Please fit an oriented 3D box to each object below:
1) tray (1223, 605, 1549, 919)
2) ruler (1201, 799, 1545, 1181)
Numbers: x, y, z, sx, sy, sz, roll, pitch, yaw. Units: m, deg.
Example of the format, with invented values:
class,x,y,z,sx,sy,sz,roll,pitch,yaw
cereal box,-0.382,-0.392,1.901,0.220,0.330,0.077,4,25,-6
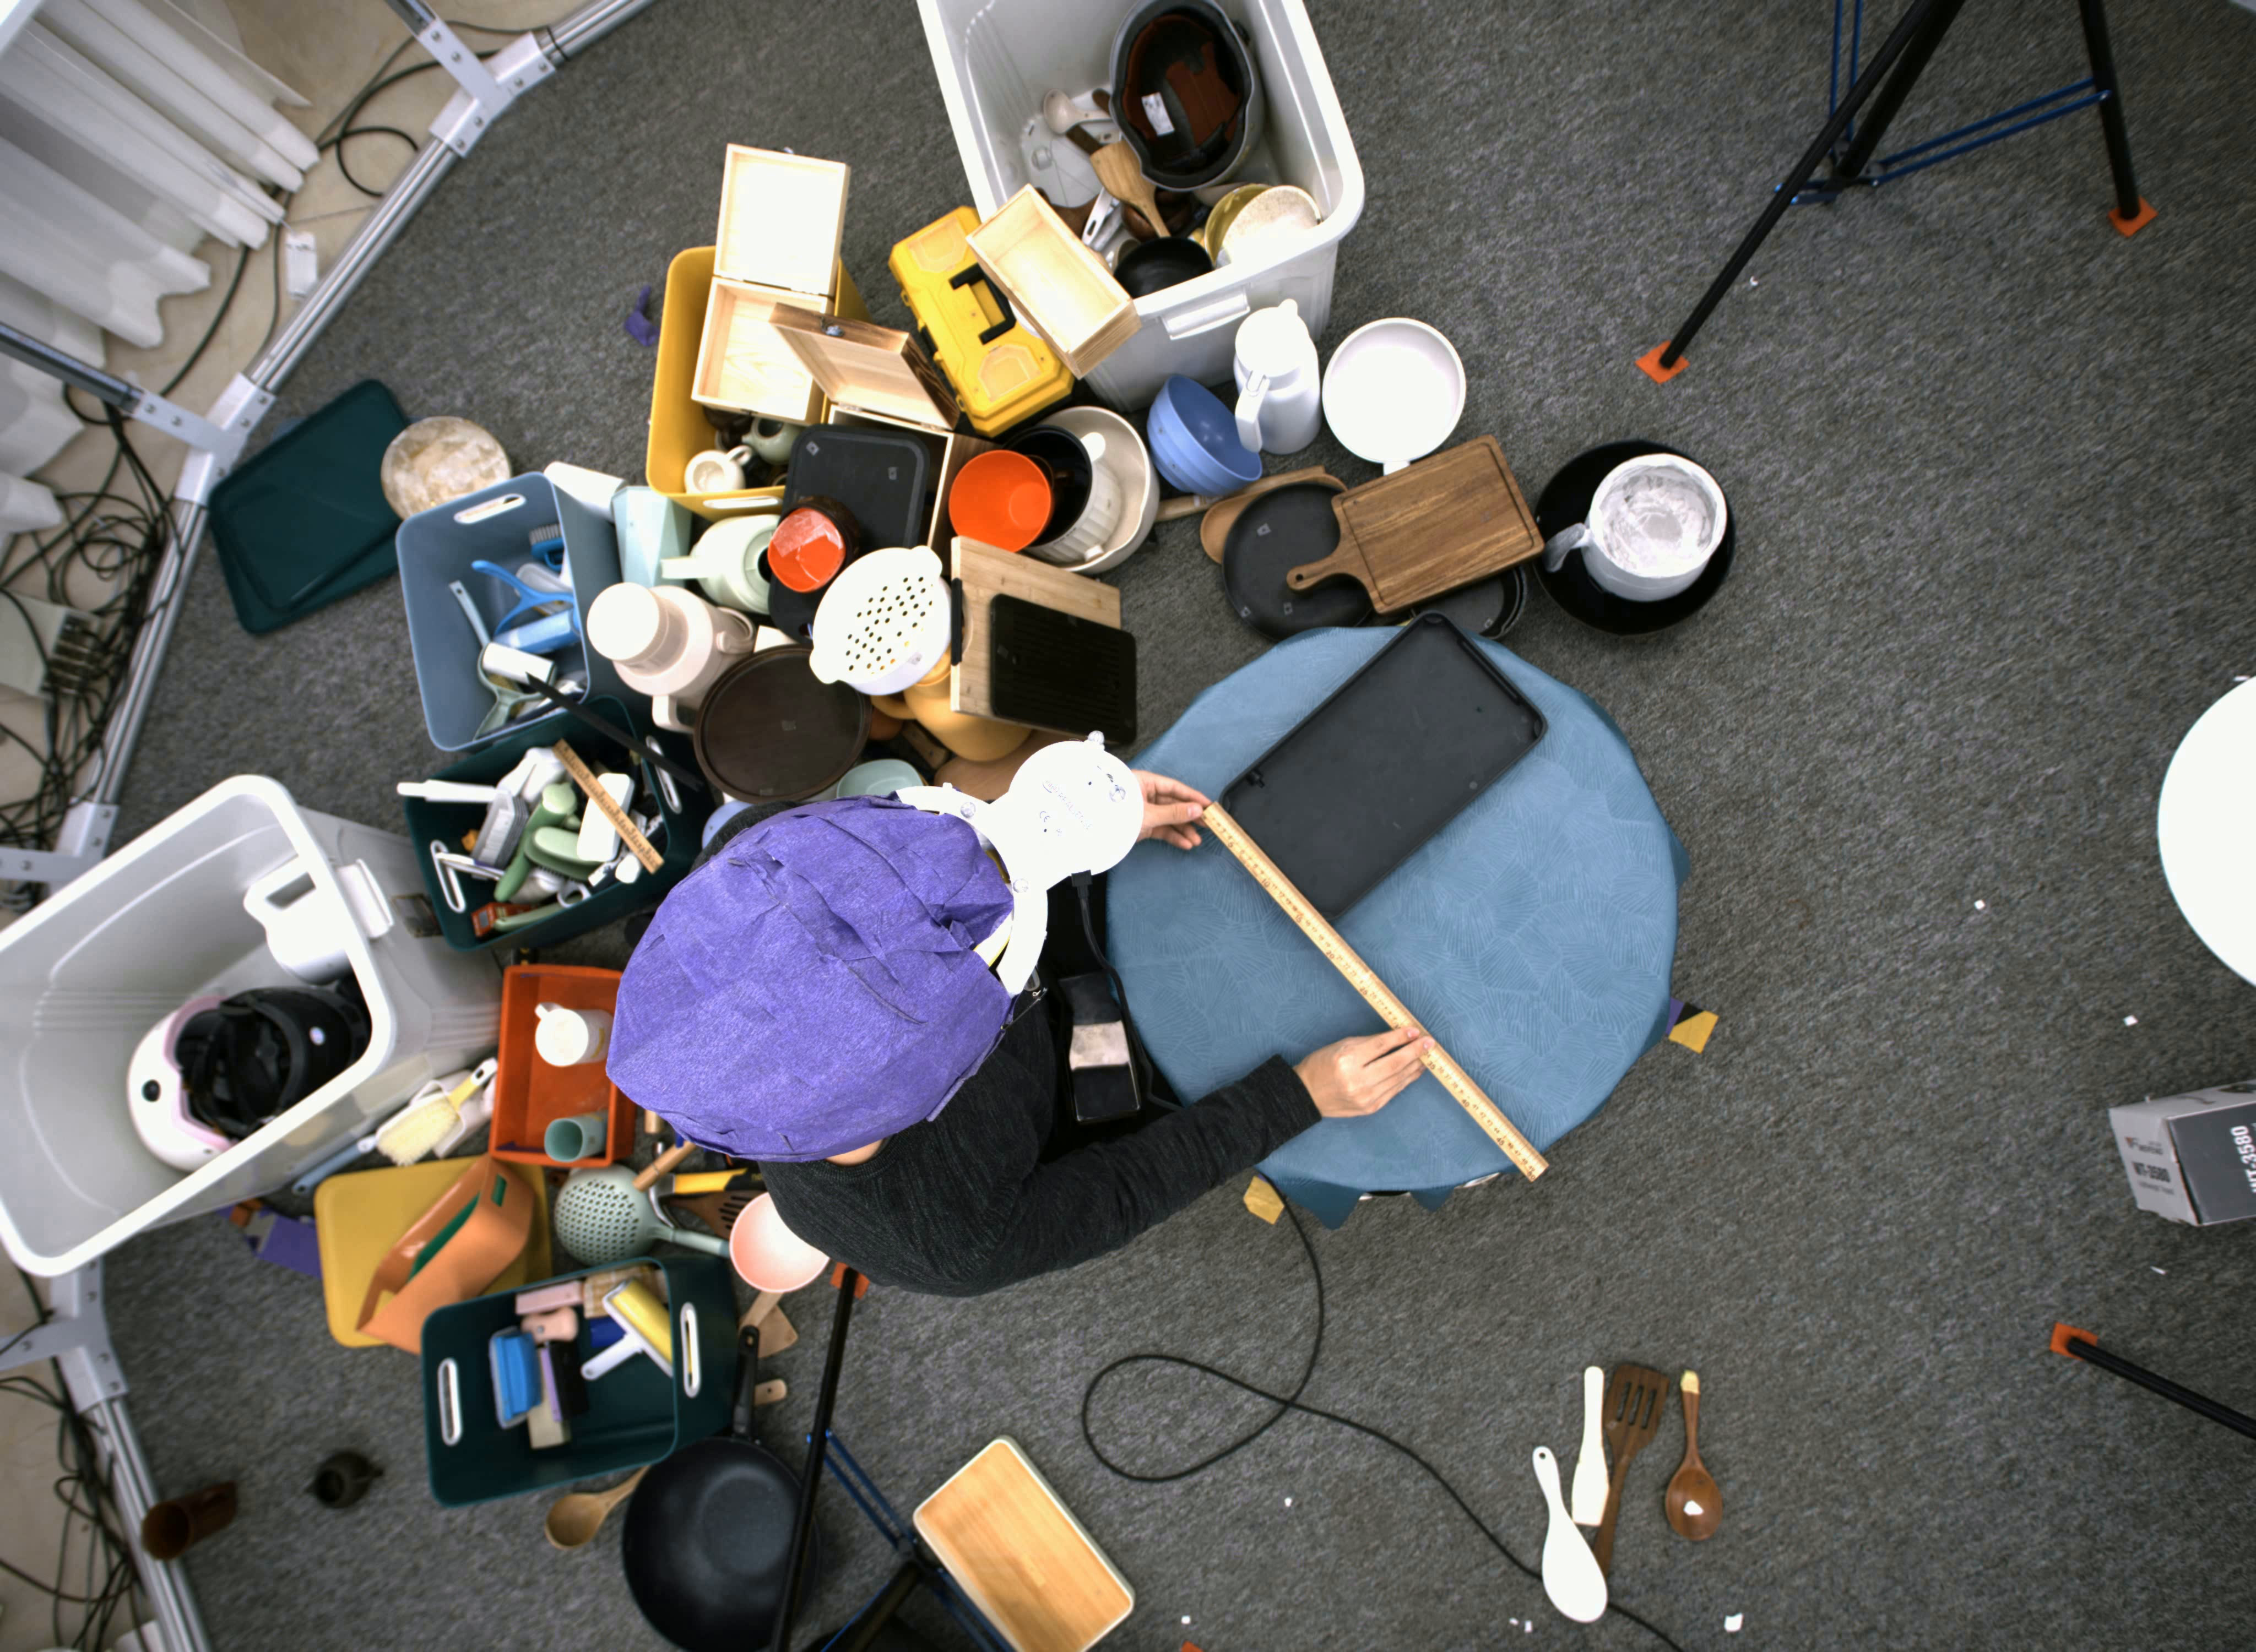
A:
class,x,y,z,sx,sy,sz,roll,pitch,yaw
tray,0.270,-0.067,1.450,0.319,0.037,0.183,-44,80,6
ruler,0.247,0.162,1.420,0.026,0.006,0.498,-41,81,-6
